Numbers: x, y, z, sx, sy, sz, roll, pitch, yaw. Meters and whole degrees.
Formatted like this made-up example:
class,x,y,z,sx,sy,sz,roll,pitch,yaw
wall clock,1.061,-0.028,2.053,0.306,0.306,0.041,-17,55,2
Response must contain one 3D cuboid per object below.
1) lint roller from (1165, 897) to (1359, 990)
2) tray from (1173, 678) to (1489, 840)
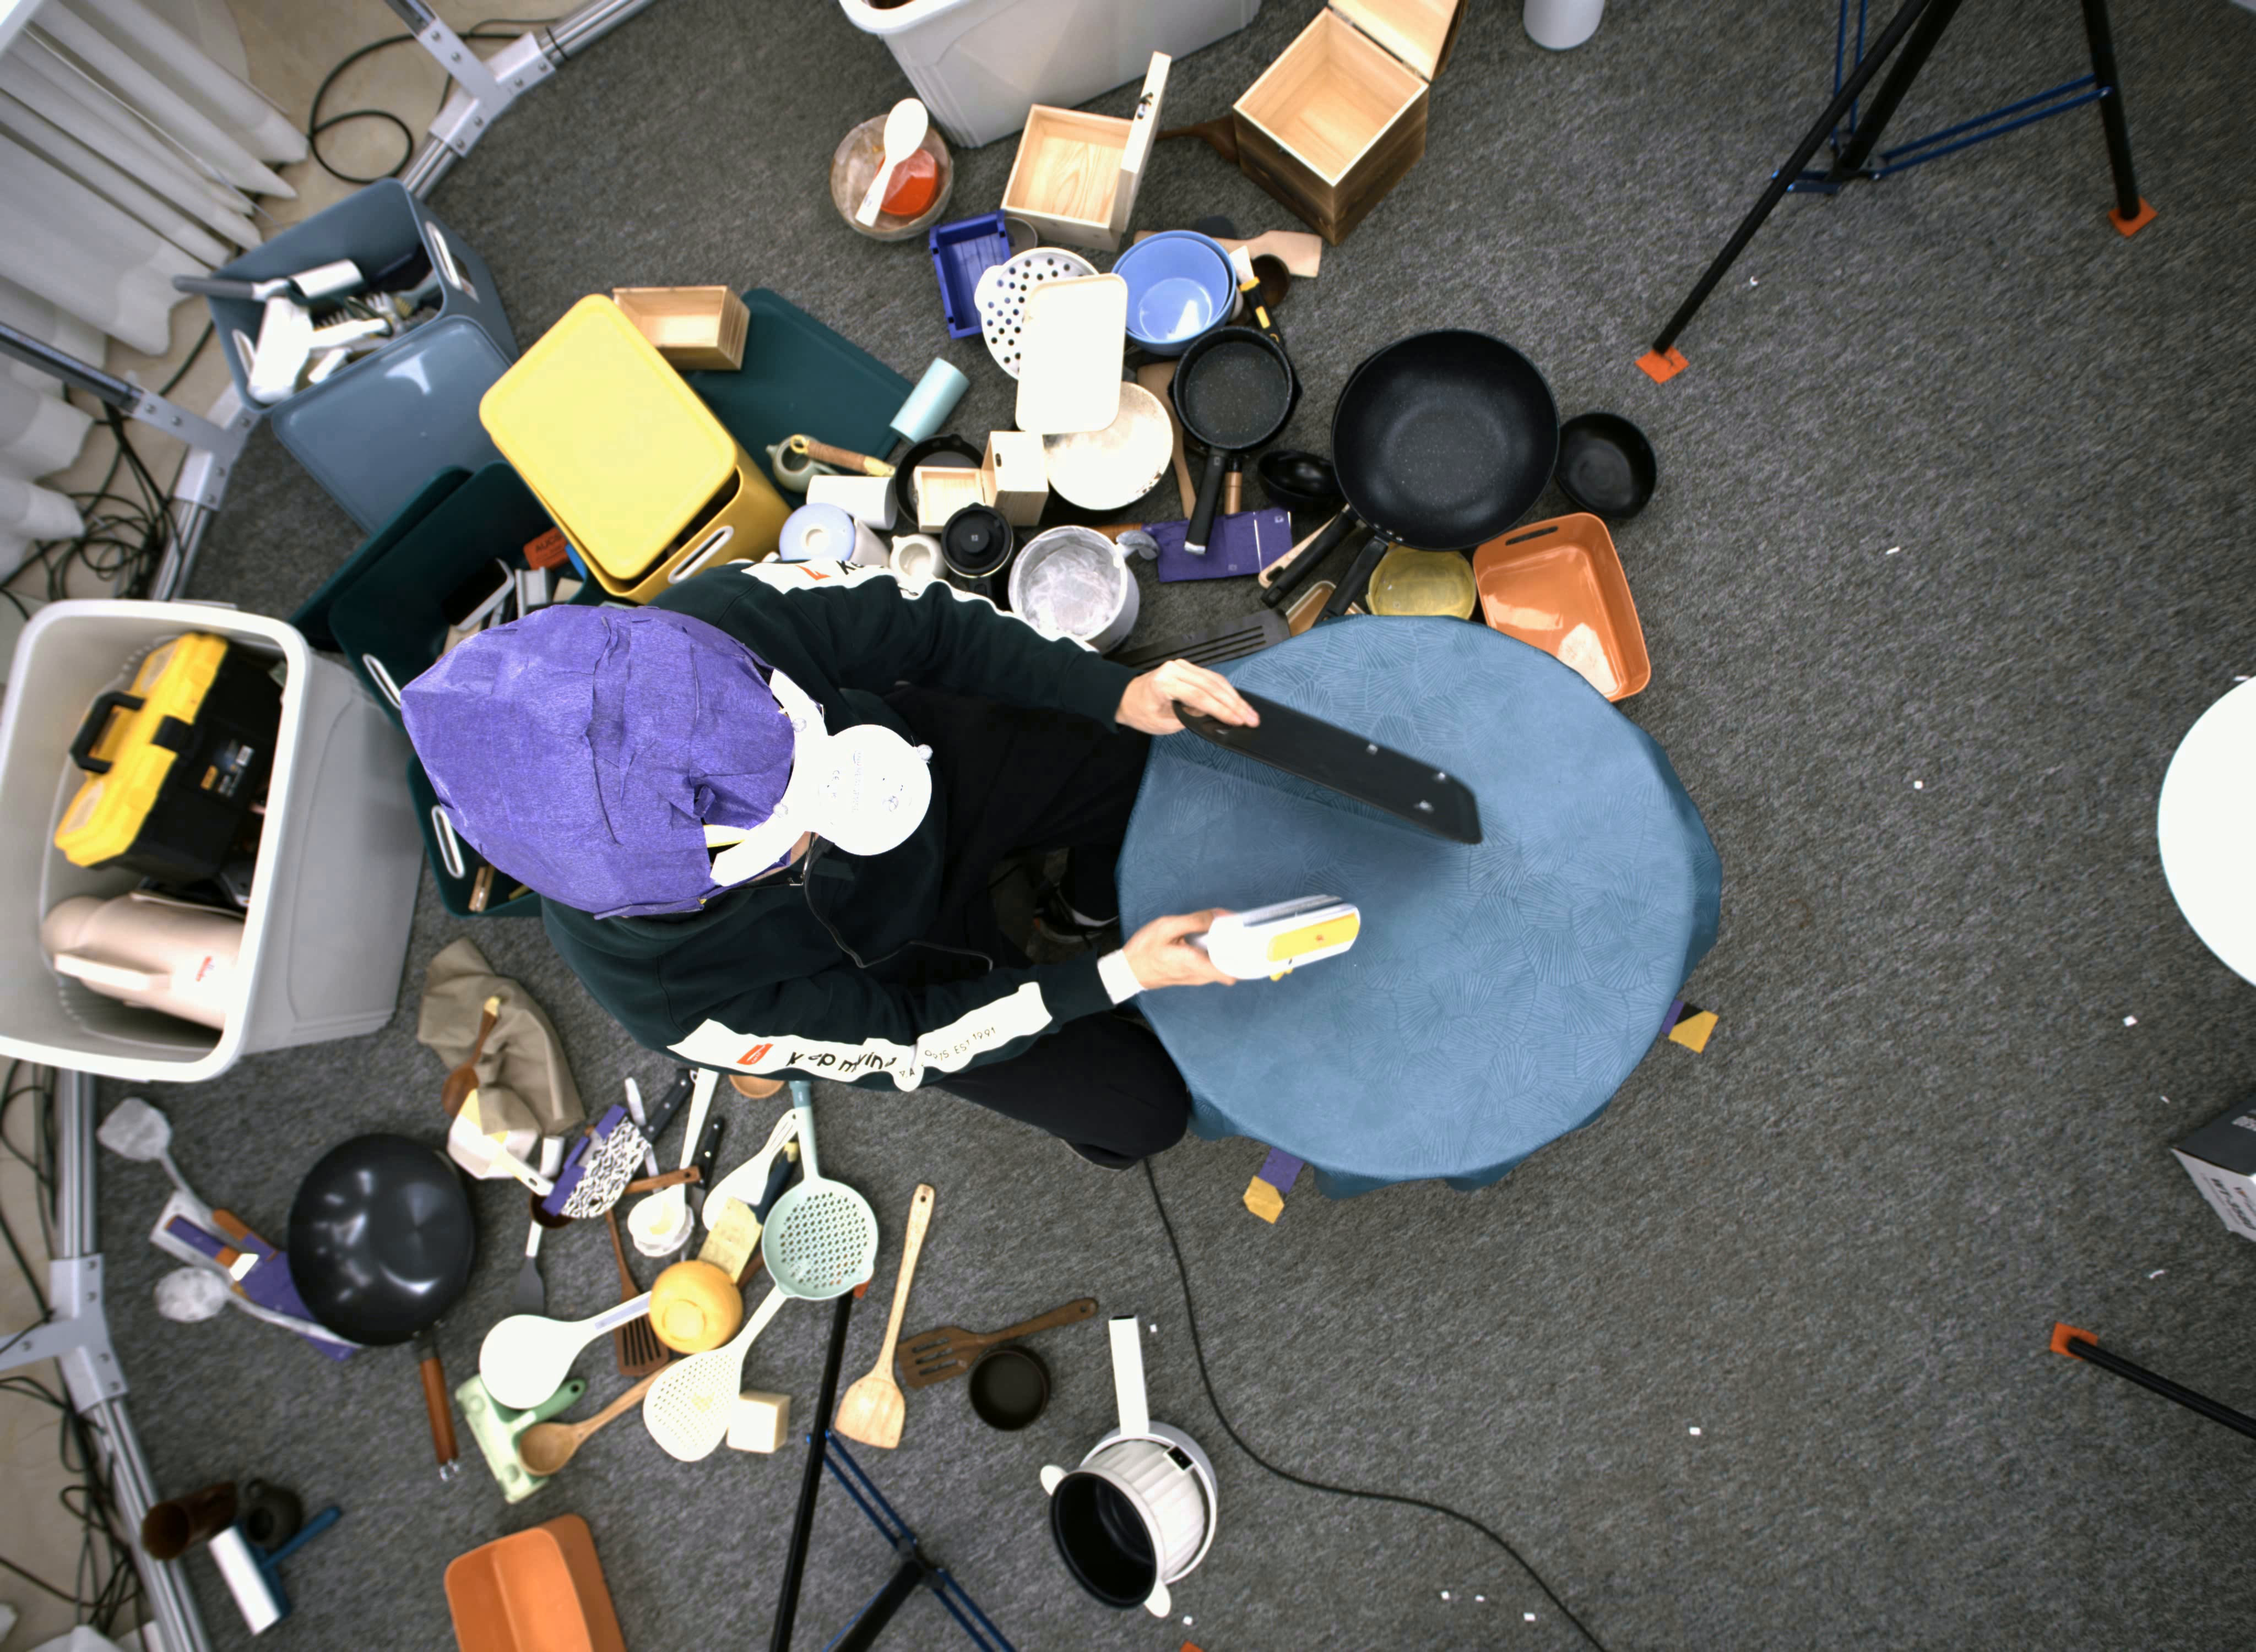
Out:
class,x,y,z,sx,sy,sz,roll,pitch,yaw
lint roller,0.110,0.111,1.384,0.193,0.190,0.075,8,109,47
tray,0.199,-0.075,1.353,0.325,0.206,0.010,21,114,1
